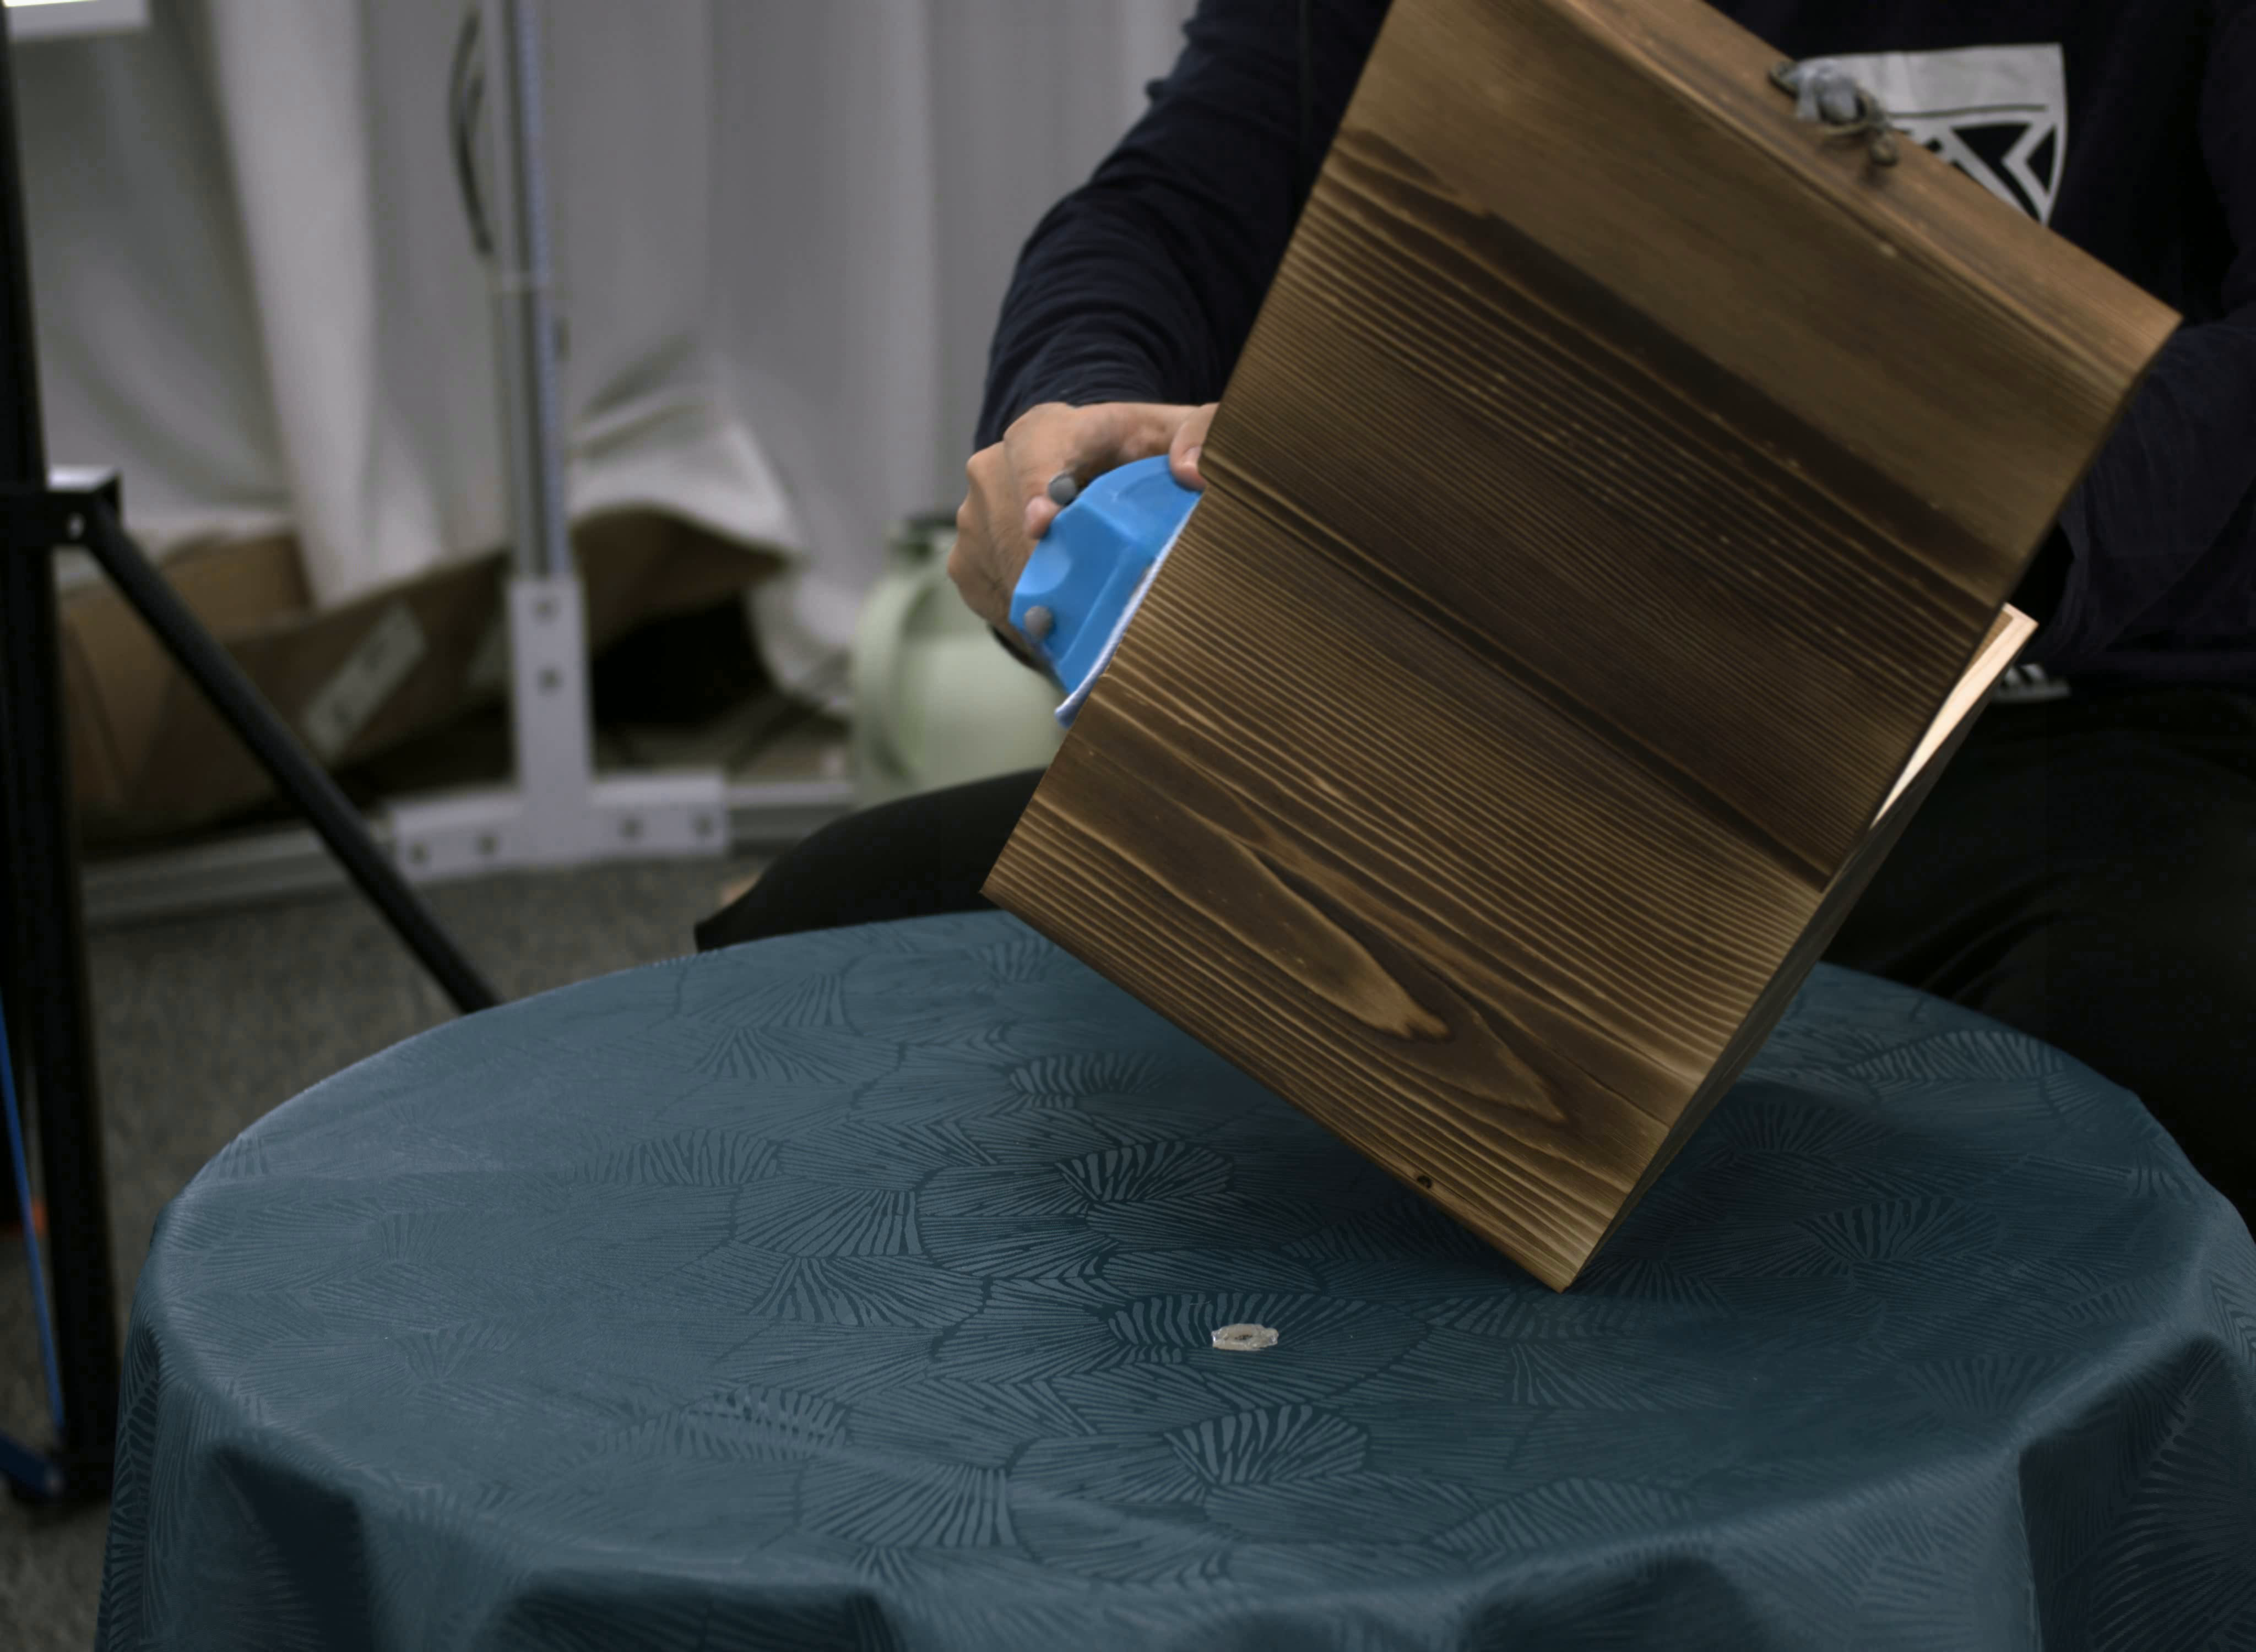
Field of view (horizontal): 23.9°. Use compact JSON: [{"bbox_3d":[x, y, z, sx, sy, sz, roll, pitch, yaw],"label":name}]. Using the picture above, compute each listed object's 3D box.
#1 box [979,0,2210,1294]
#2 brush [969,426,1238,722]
[{"bbox_3d":[0.138,-0.079,1.444,0.210,0.377,0.318,34,27,10],"label":"box"},{"bbox_3d":[-0.010,-0.079,1.572,0.056,0.084,0.143,37,18,3],"label":"brush"}]
